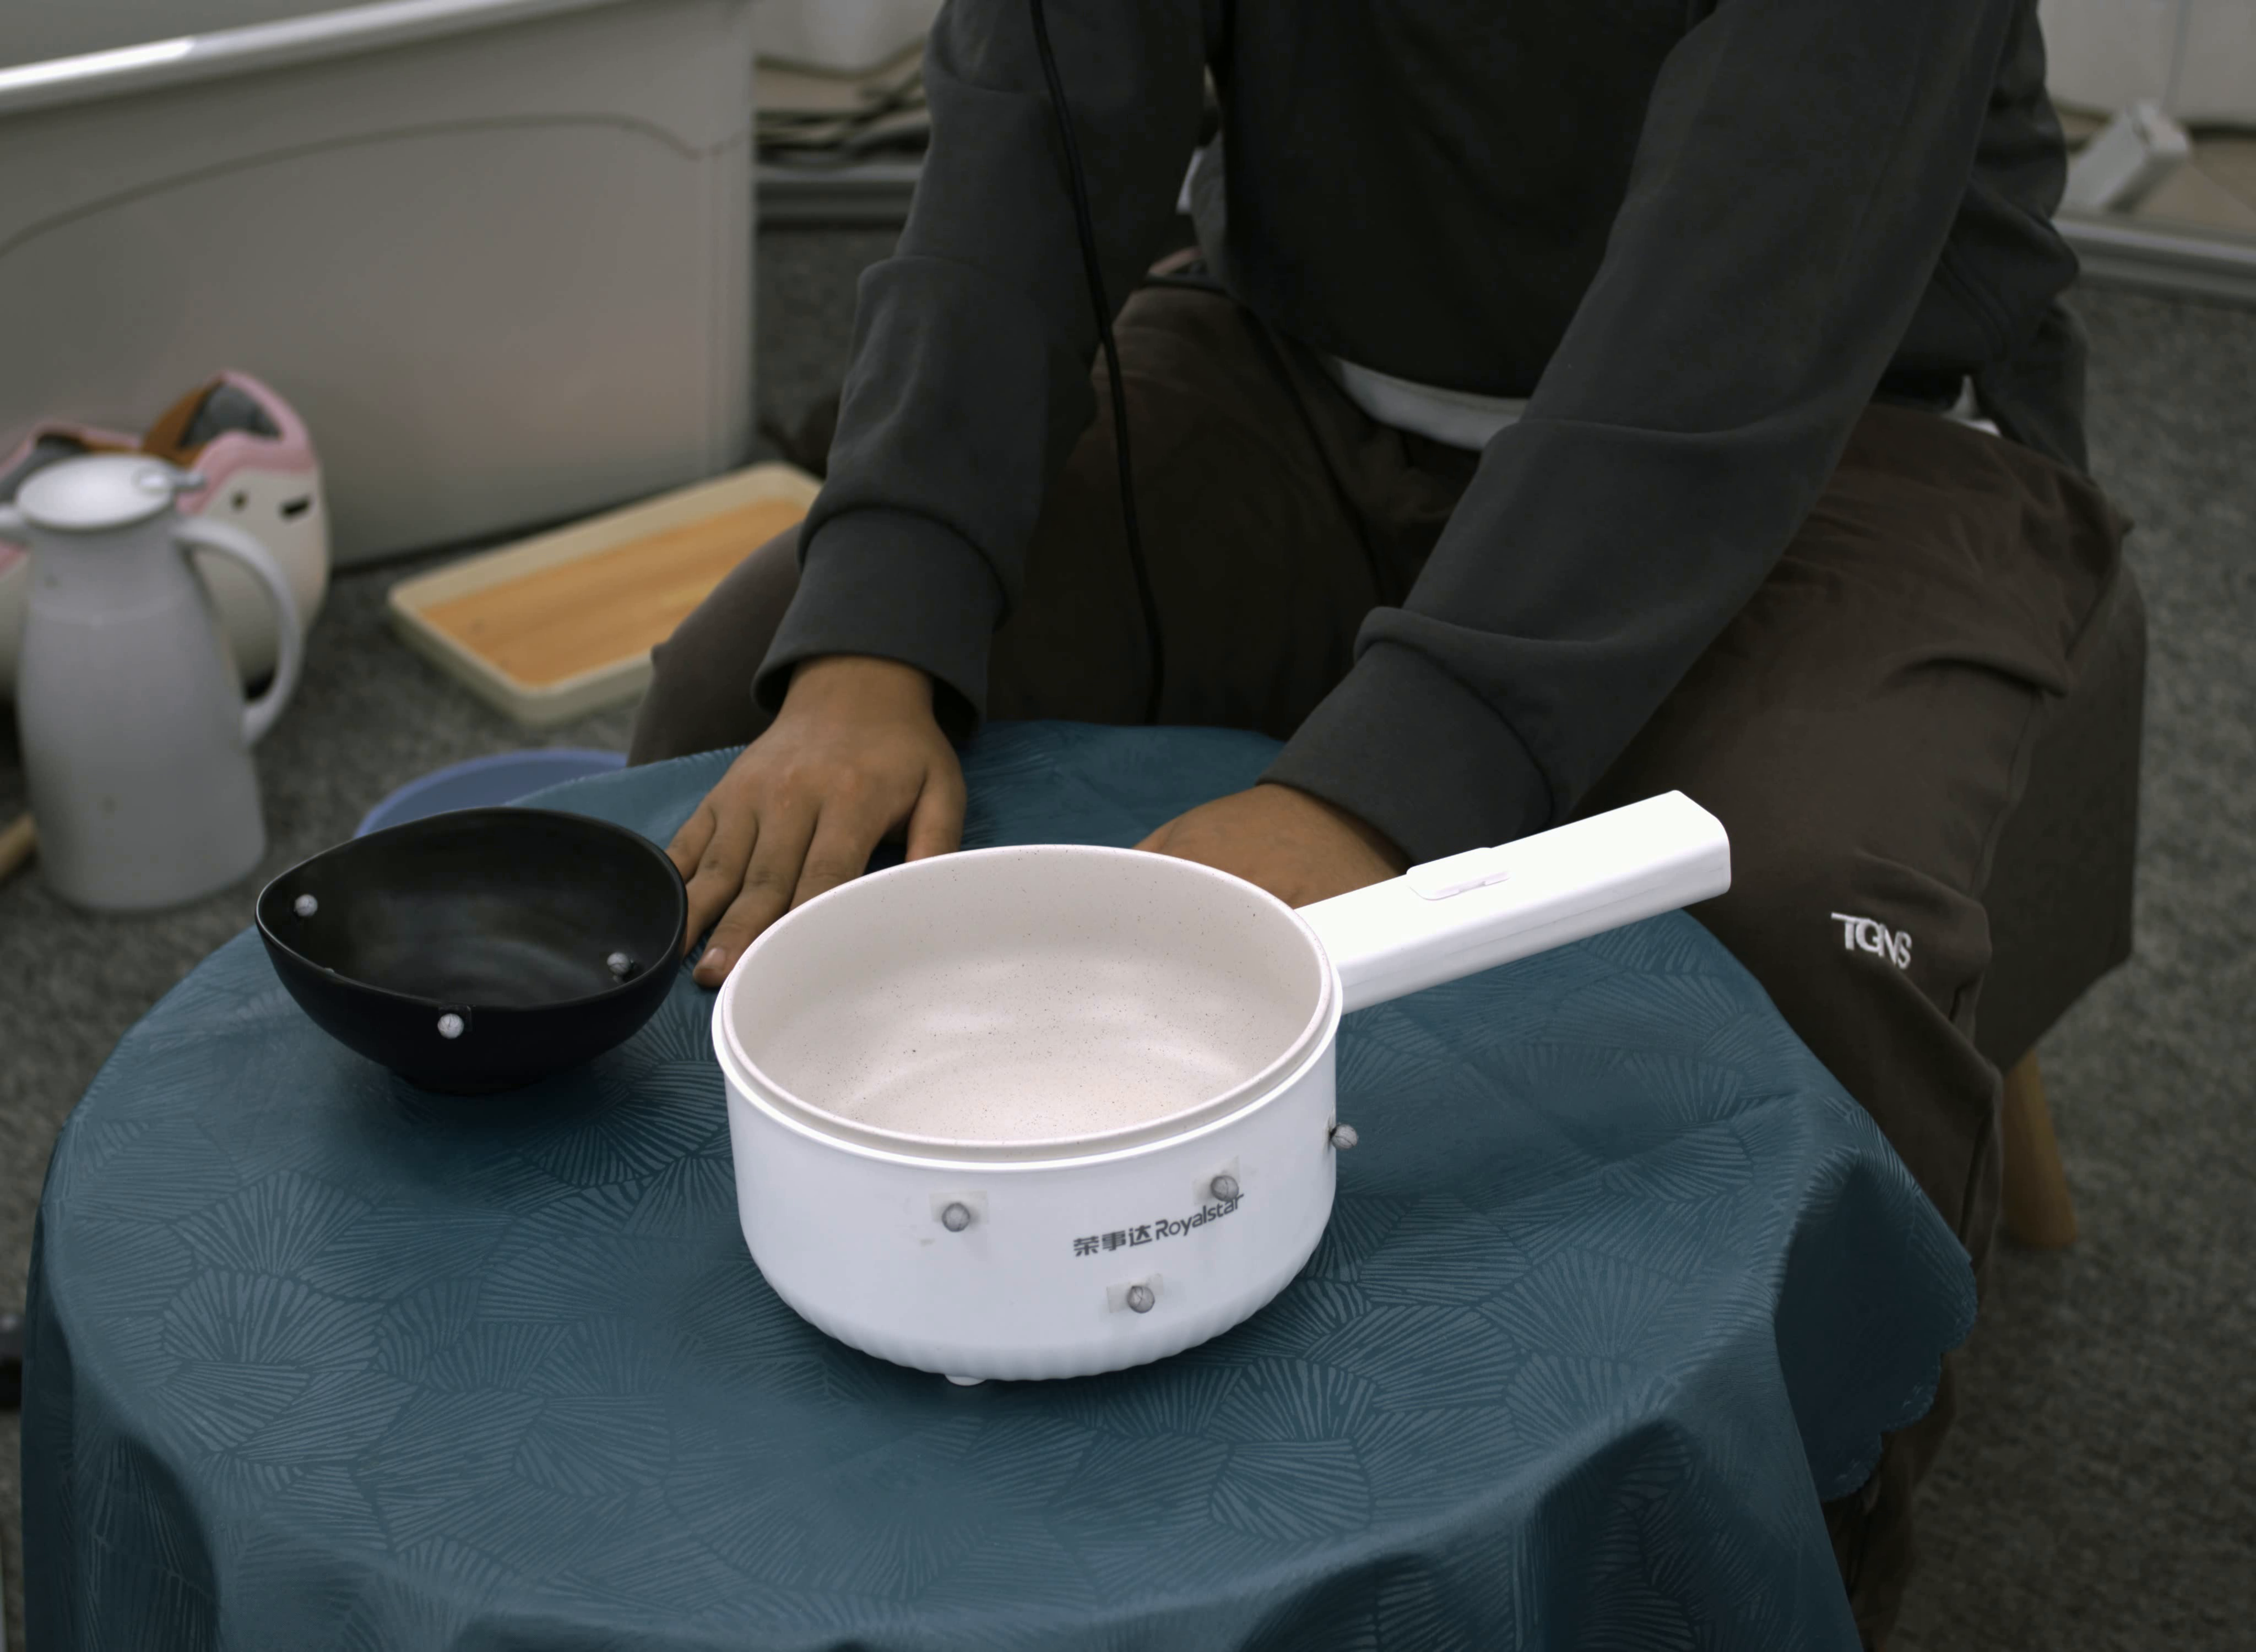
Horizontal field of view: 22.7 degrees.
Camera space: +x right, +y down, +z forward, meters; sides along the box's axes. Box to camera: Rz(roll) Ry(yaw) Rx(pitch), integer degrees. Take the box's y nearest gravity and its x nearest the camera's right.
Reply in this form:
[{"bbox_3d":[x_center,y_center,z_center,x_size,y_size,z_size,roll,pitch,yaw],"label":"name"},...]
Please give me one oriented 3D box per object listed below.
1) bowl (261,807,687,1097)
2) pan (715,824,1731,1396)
[{"bbox_3d":[-0.226,0.052,1.950,0.170,0.066,0.139,20,35,40],"label":"bowl"},{"bbox_3d":[0.038,0.085,1.843,0.356,0.101,0.202,-14,25,-25],"label":"pan"}]
